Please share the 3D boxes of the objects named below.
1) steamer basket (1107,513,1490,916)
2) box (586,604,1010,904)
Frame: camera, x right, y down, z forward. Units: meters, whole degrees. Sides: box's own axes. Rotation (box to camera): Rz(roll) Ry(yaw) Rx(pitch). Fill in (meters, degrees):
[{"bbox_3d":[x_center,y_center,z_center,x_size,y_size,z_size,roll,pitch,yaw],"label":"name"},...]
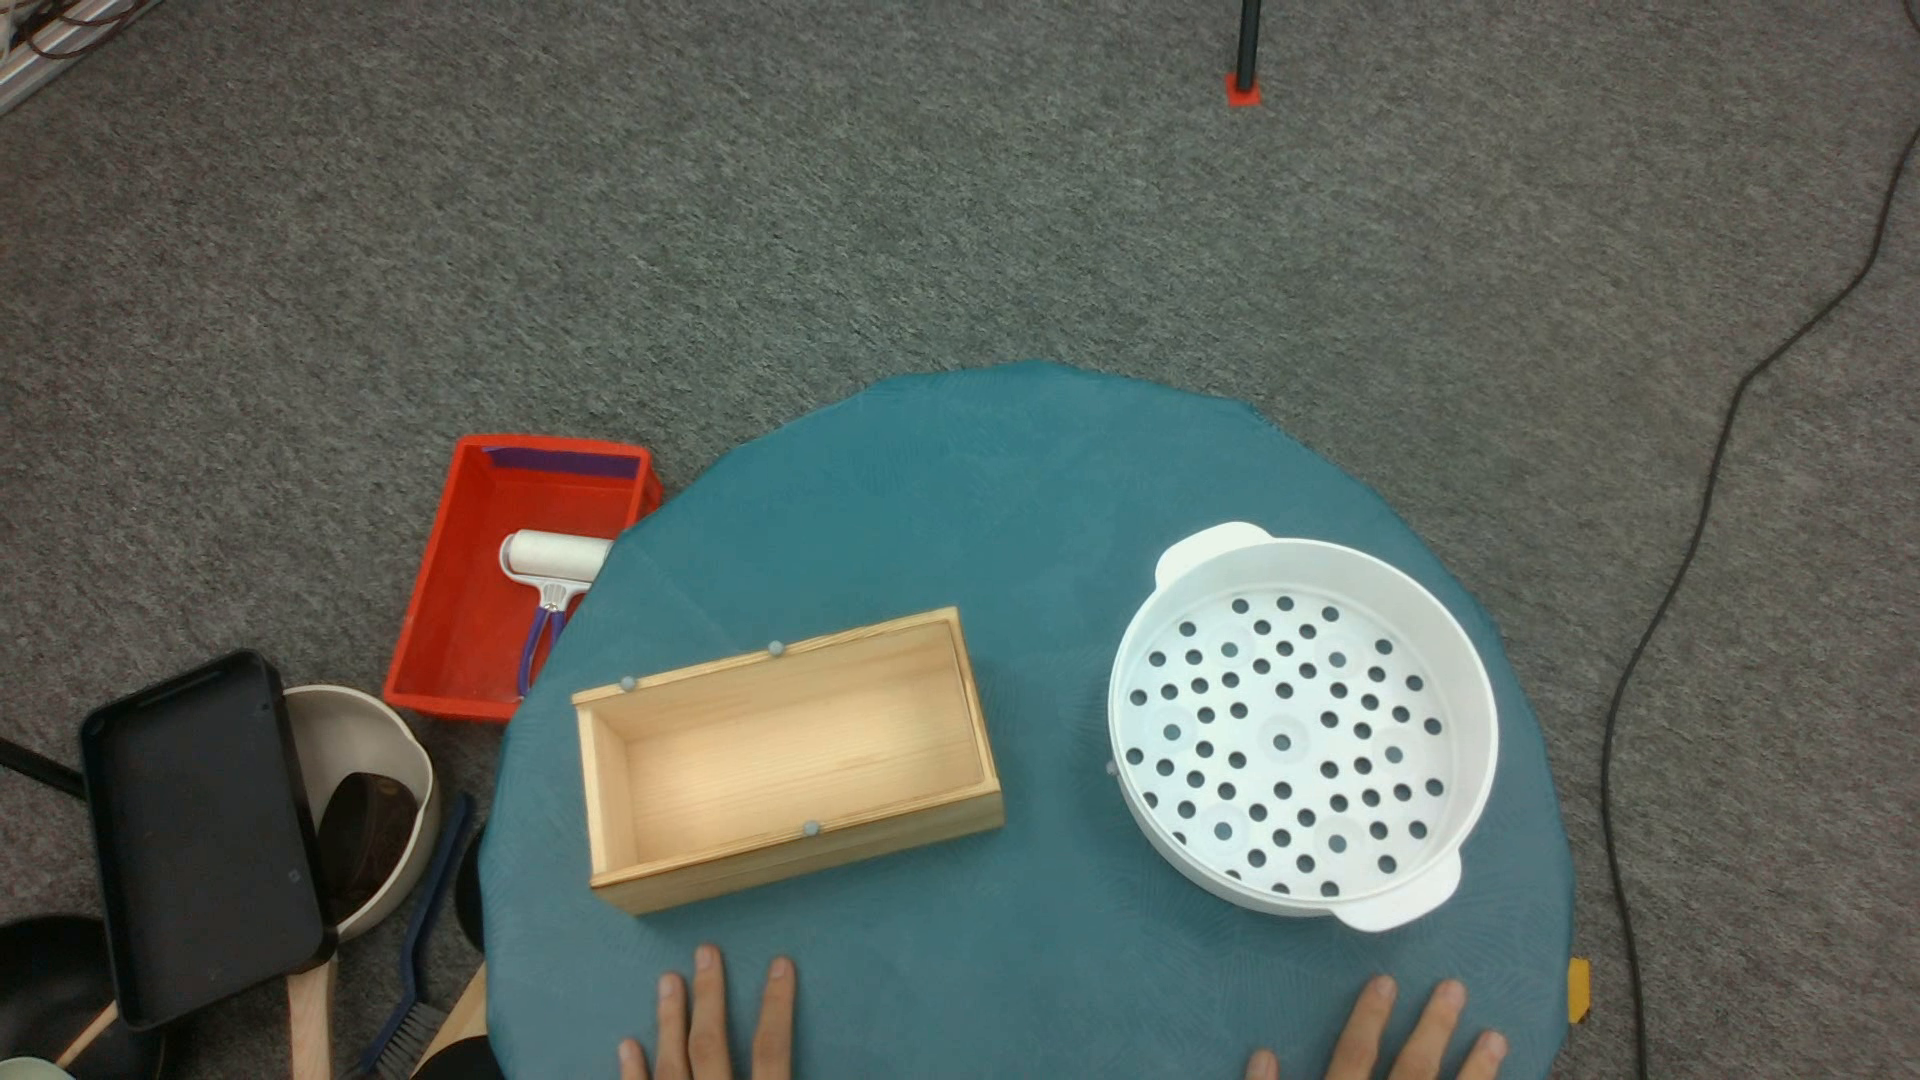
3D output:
[{"bbox_3d":[0.182,0.097,0.763,0.202,0.069,0.231,-23,67,-6],"label":"steamer basket"},{"bbox_3d":[-0.087,0.120,0.764,0.211,0.080,0.108,-13,66,-2],"label":"box"}]
